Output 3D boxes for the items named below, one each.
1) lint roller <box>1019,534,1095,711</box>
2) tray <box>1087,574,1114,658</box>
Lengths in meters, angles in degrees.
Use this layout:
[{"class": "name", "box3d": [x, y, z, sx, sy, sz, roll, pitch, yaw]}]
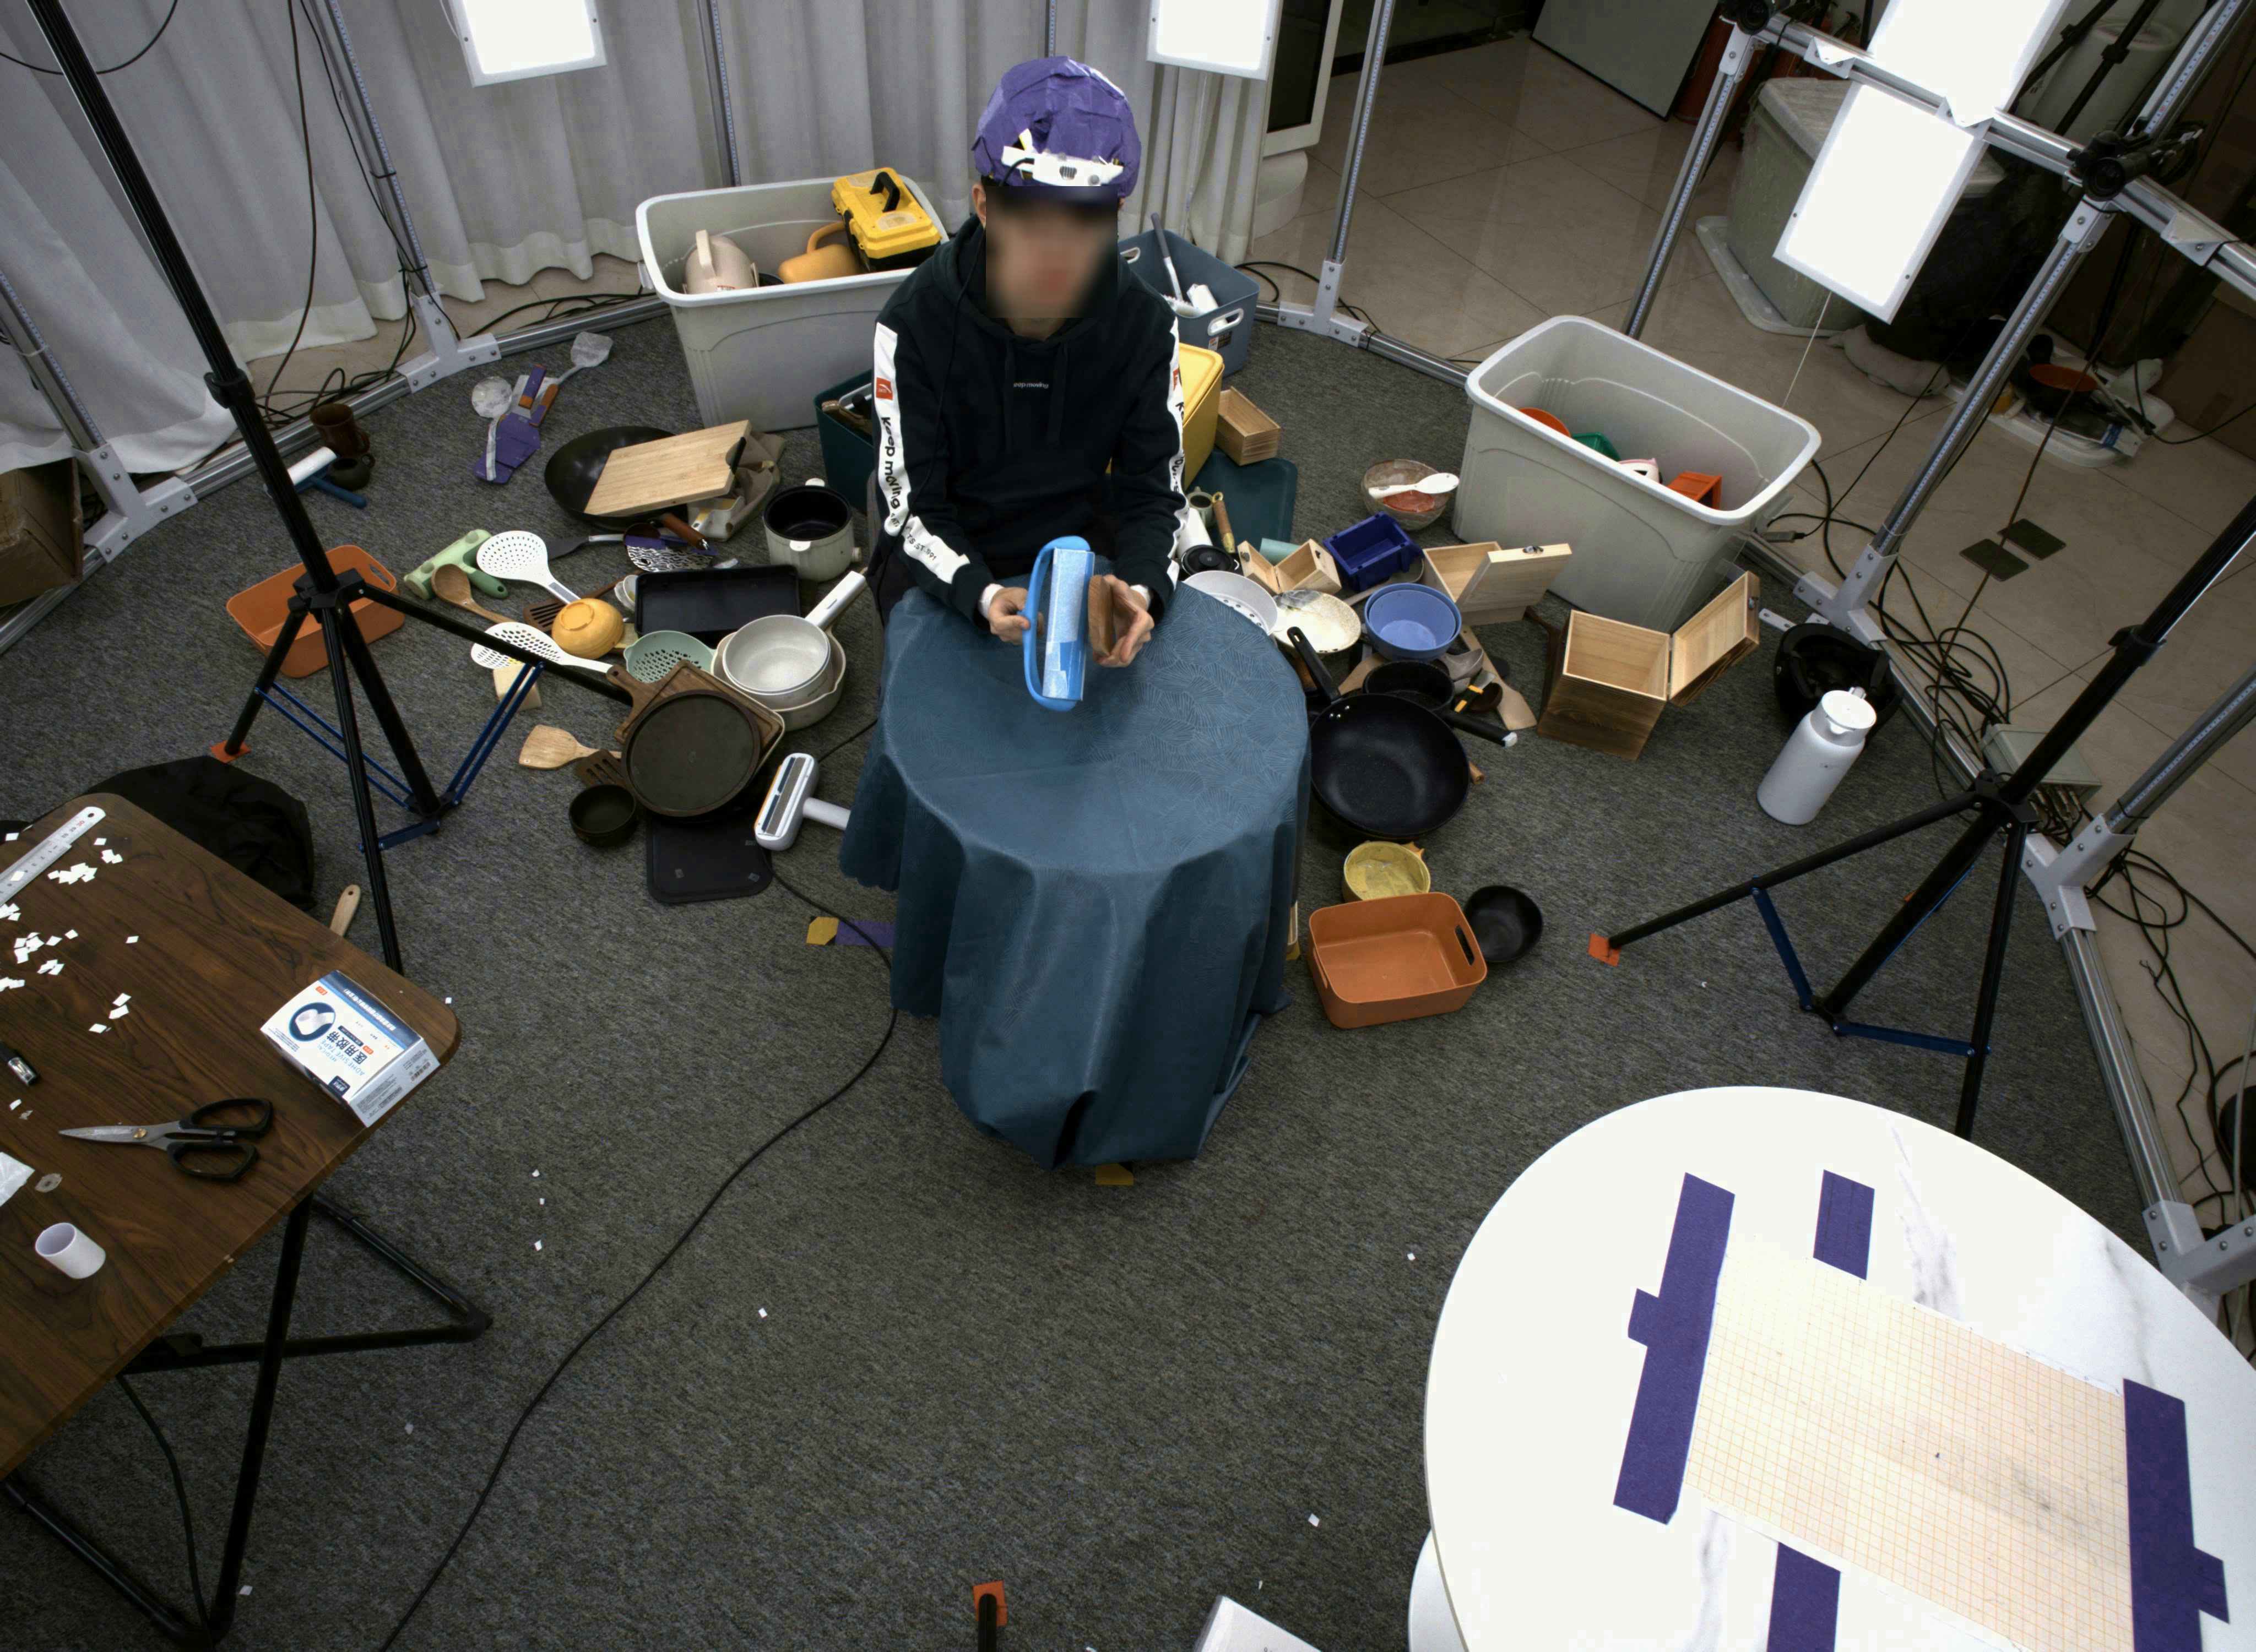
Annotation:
[{"class": "lint roller", "box3d": [-0.112, -0.274, 1.729, 0.067, 0.228, 0.182, -1, 7, -35]}, {"class": "tray", "box3d": [-0.036, -0.280, 1.725, 0.020, 0.101, 0.232, 0, 4, 3]}]
